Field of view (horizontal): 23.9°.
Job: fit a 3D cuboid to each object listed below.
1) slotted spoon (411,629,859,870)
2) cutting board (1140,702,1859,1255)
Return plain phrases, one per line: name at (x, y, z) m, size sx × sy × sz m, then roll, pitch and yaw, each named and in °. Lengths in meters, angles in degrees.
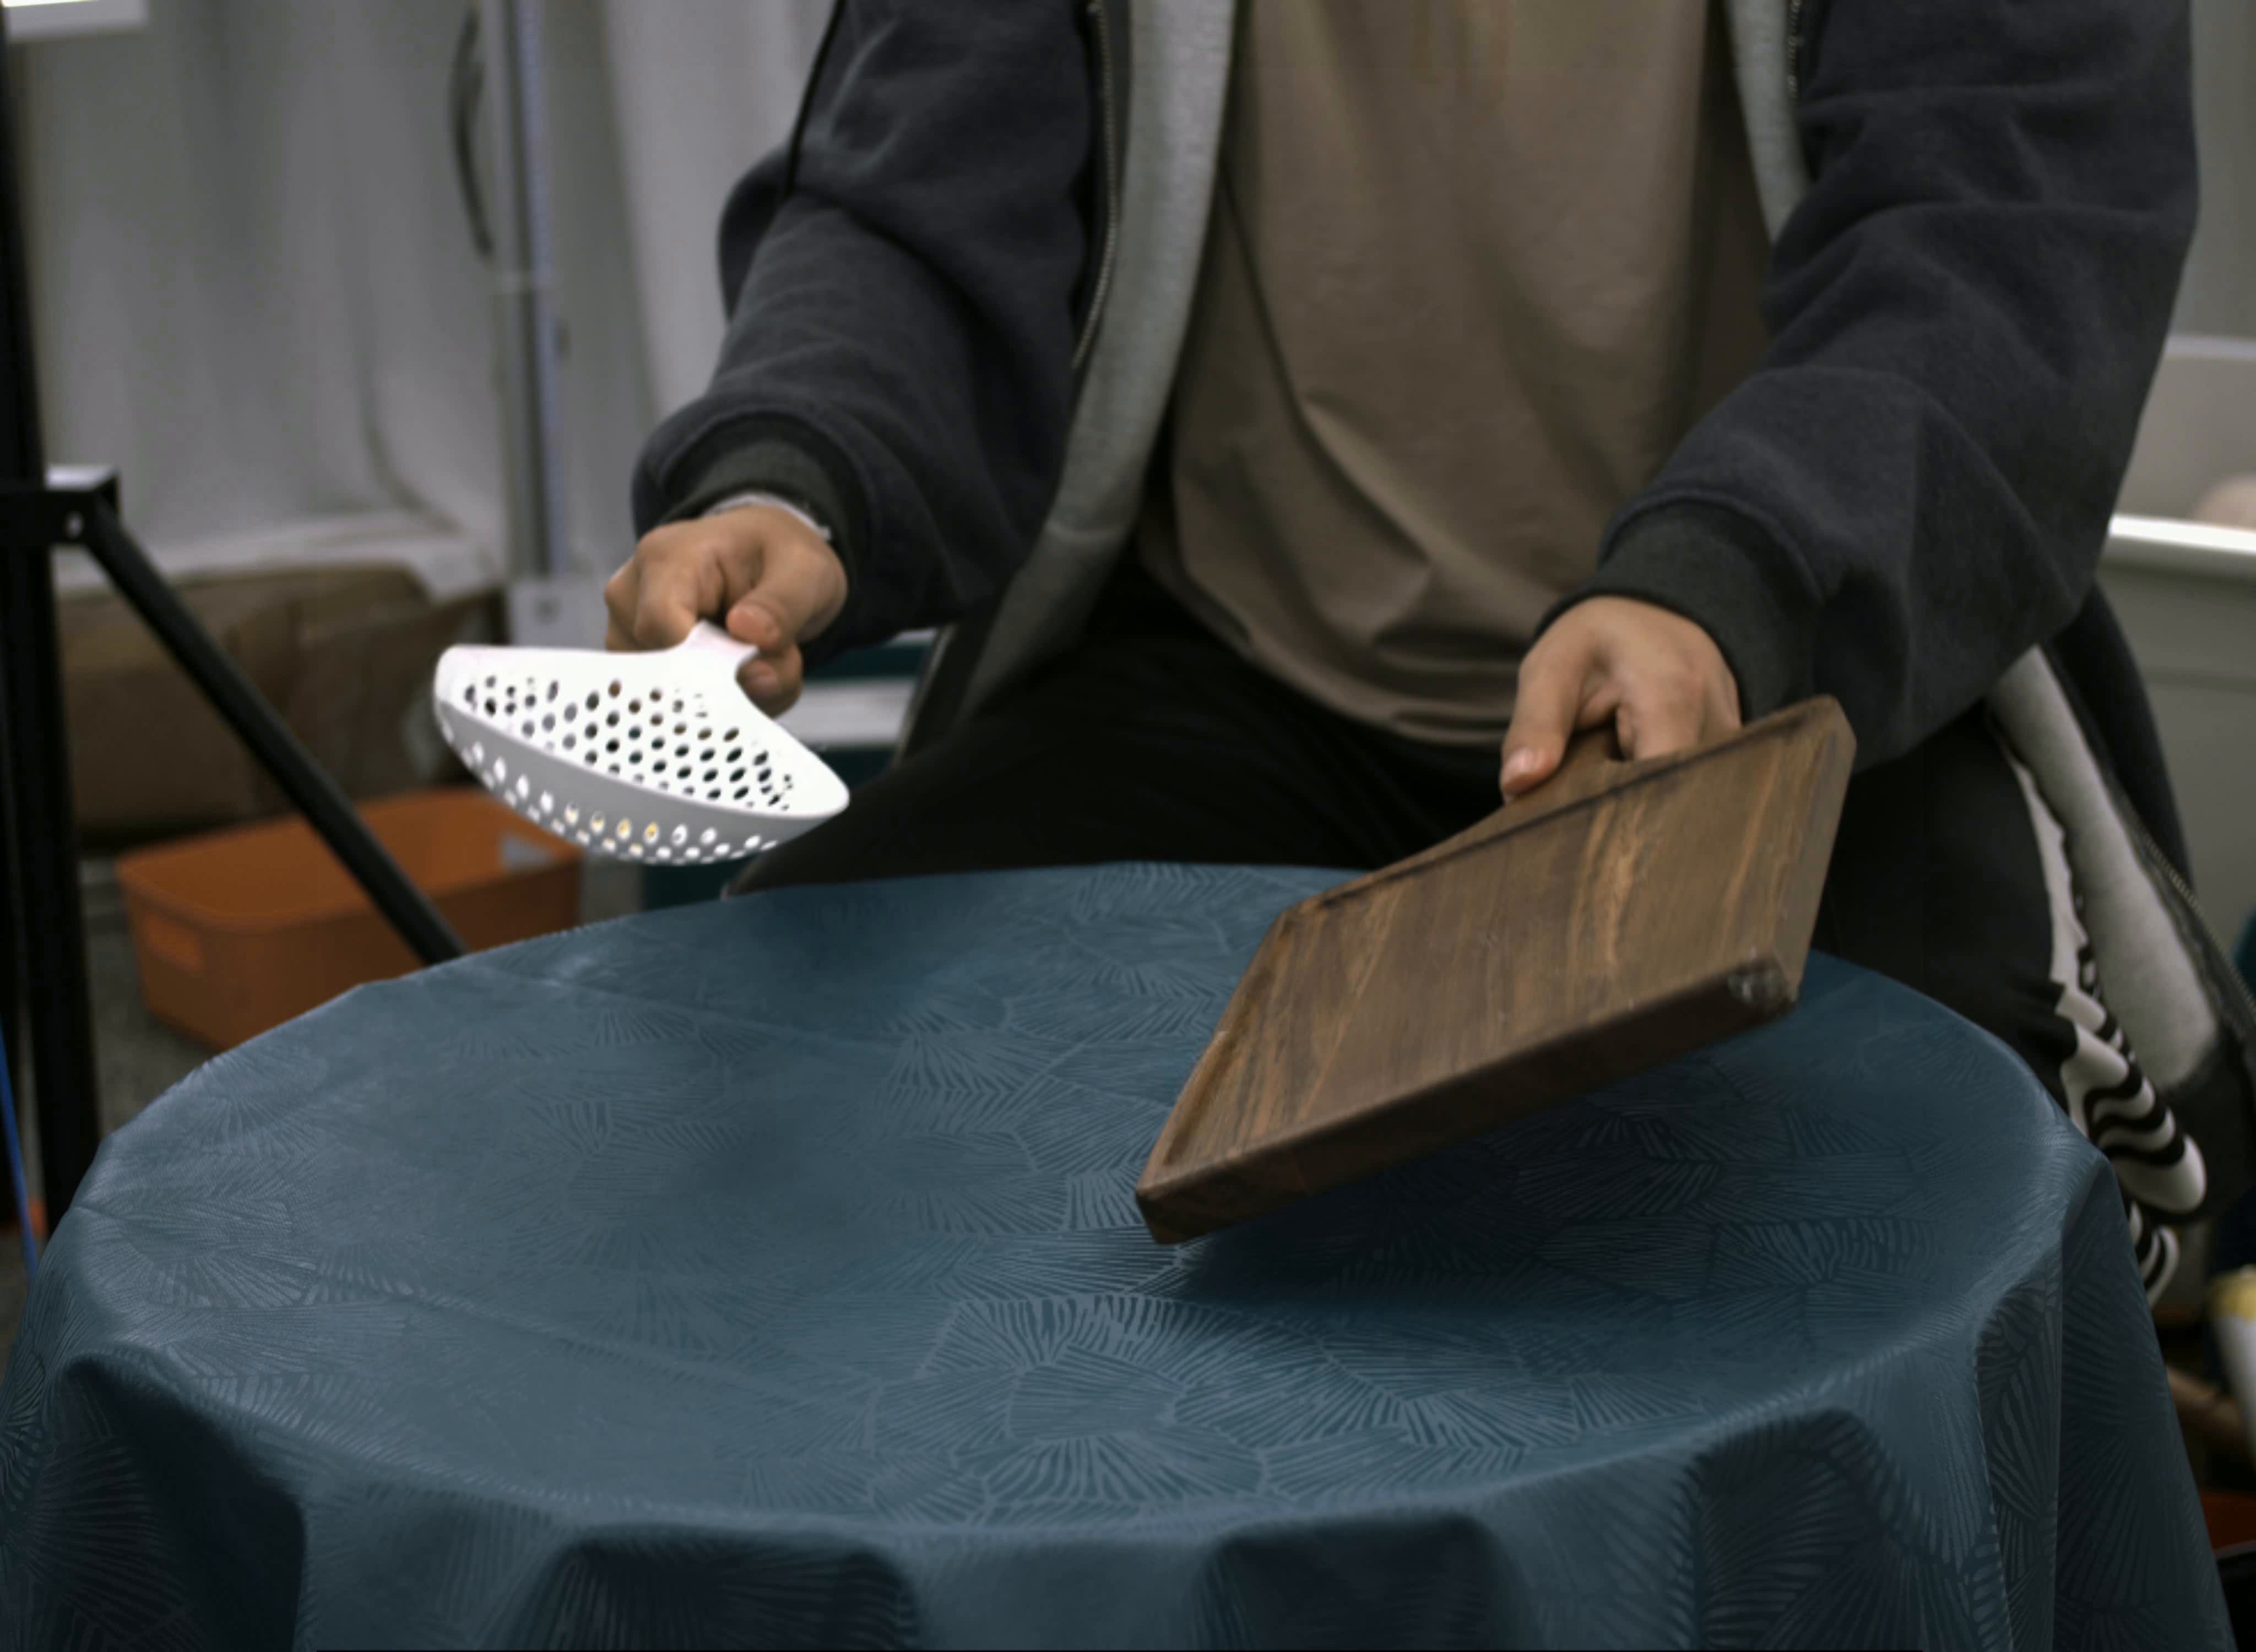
slotted spoon at (-0.142, -0.036, 1.671) m, size 0.136 × 0.050 × 0.348 m, roll 17°, pitch 14°, yaw 0°
cutting board at (0.123, 0.026, 1.595) m, size 0.202 × 0.023 × 0.350 m, roll -21°, pitch 13°, yaw 18°
